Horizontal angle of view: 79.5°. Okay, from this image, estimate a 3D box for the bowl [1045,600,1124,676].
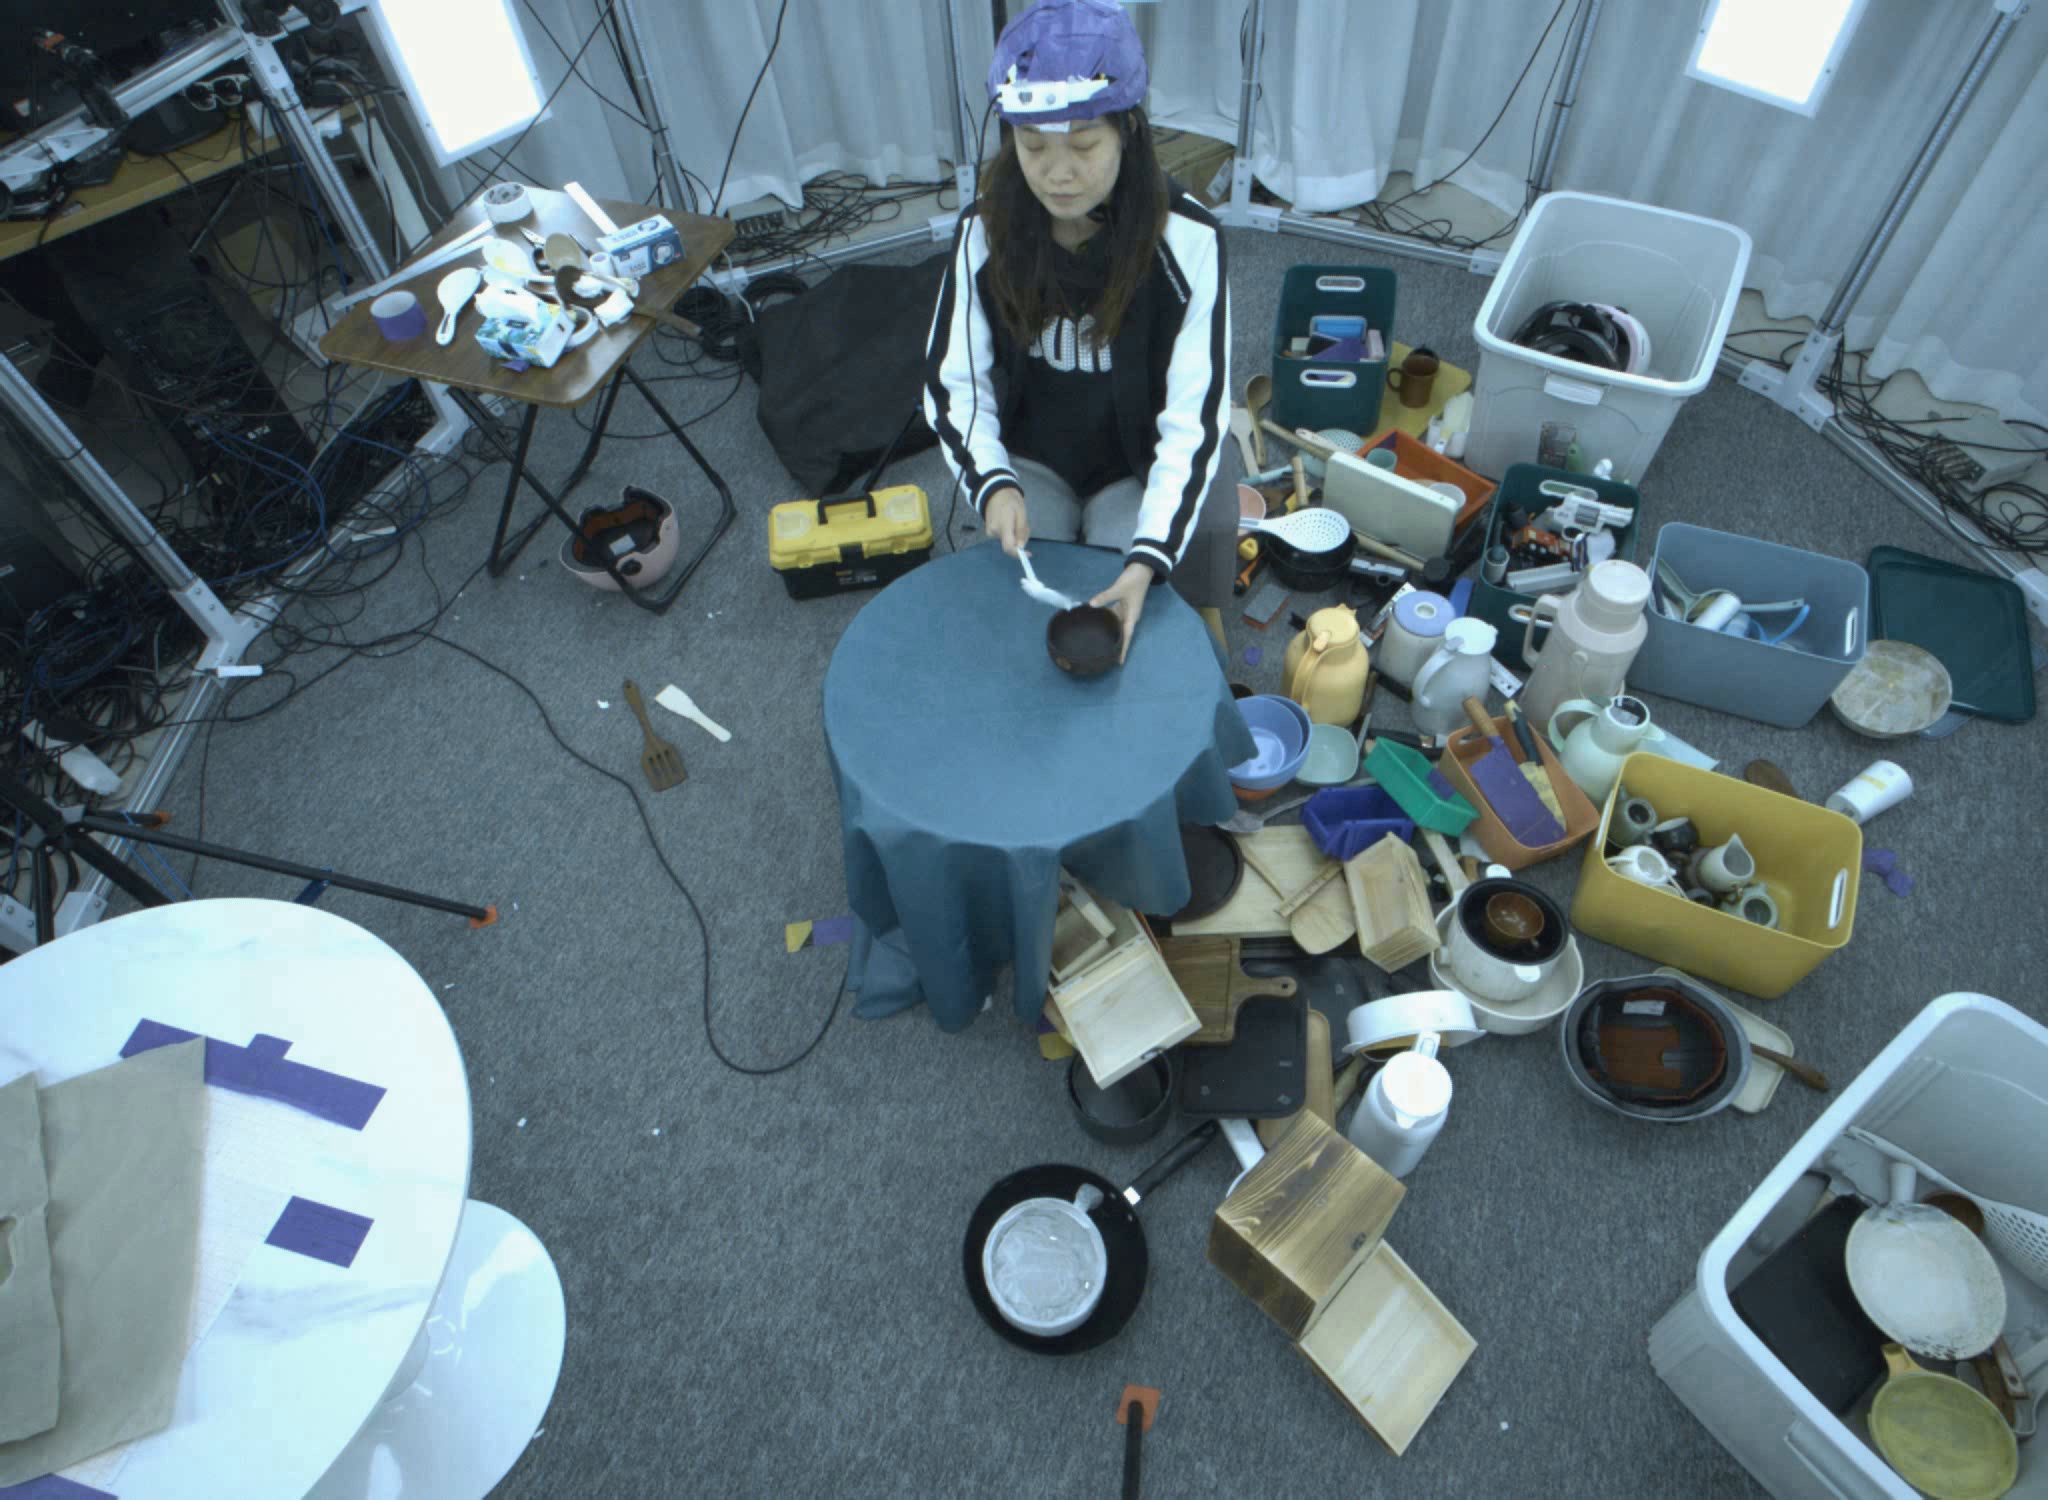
[{"bbox_3d":[0.091,-0.160,1.853,0.118,0.070,0.117,0,55,2],"label":"bowl"}]

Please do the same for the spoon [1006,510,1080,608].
[{"bbox_3d":[0.020,-0.294,1.816,0.103,0.059,0.273,25,34,-34],"label":"spoon"}]
